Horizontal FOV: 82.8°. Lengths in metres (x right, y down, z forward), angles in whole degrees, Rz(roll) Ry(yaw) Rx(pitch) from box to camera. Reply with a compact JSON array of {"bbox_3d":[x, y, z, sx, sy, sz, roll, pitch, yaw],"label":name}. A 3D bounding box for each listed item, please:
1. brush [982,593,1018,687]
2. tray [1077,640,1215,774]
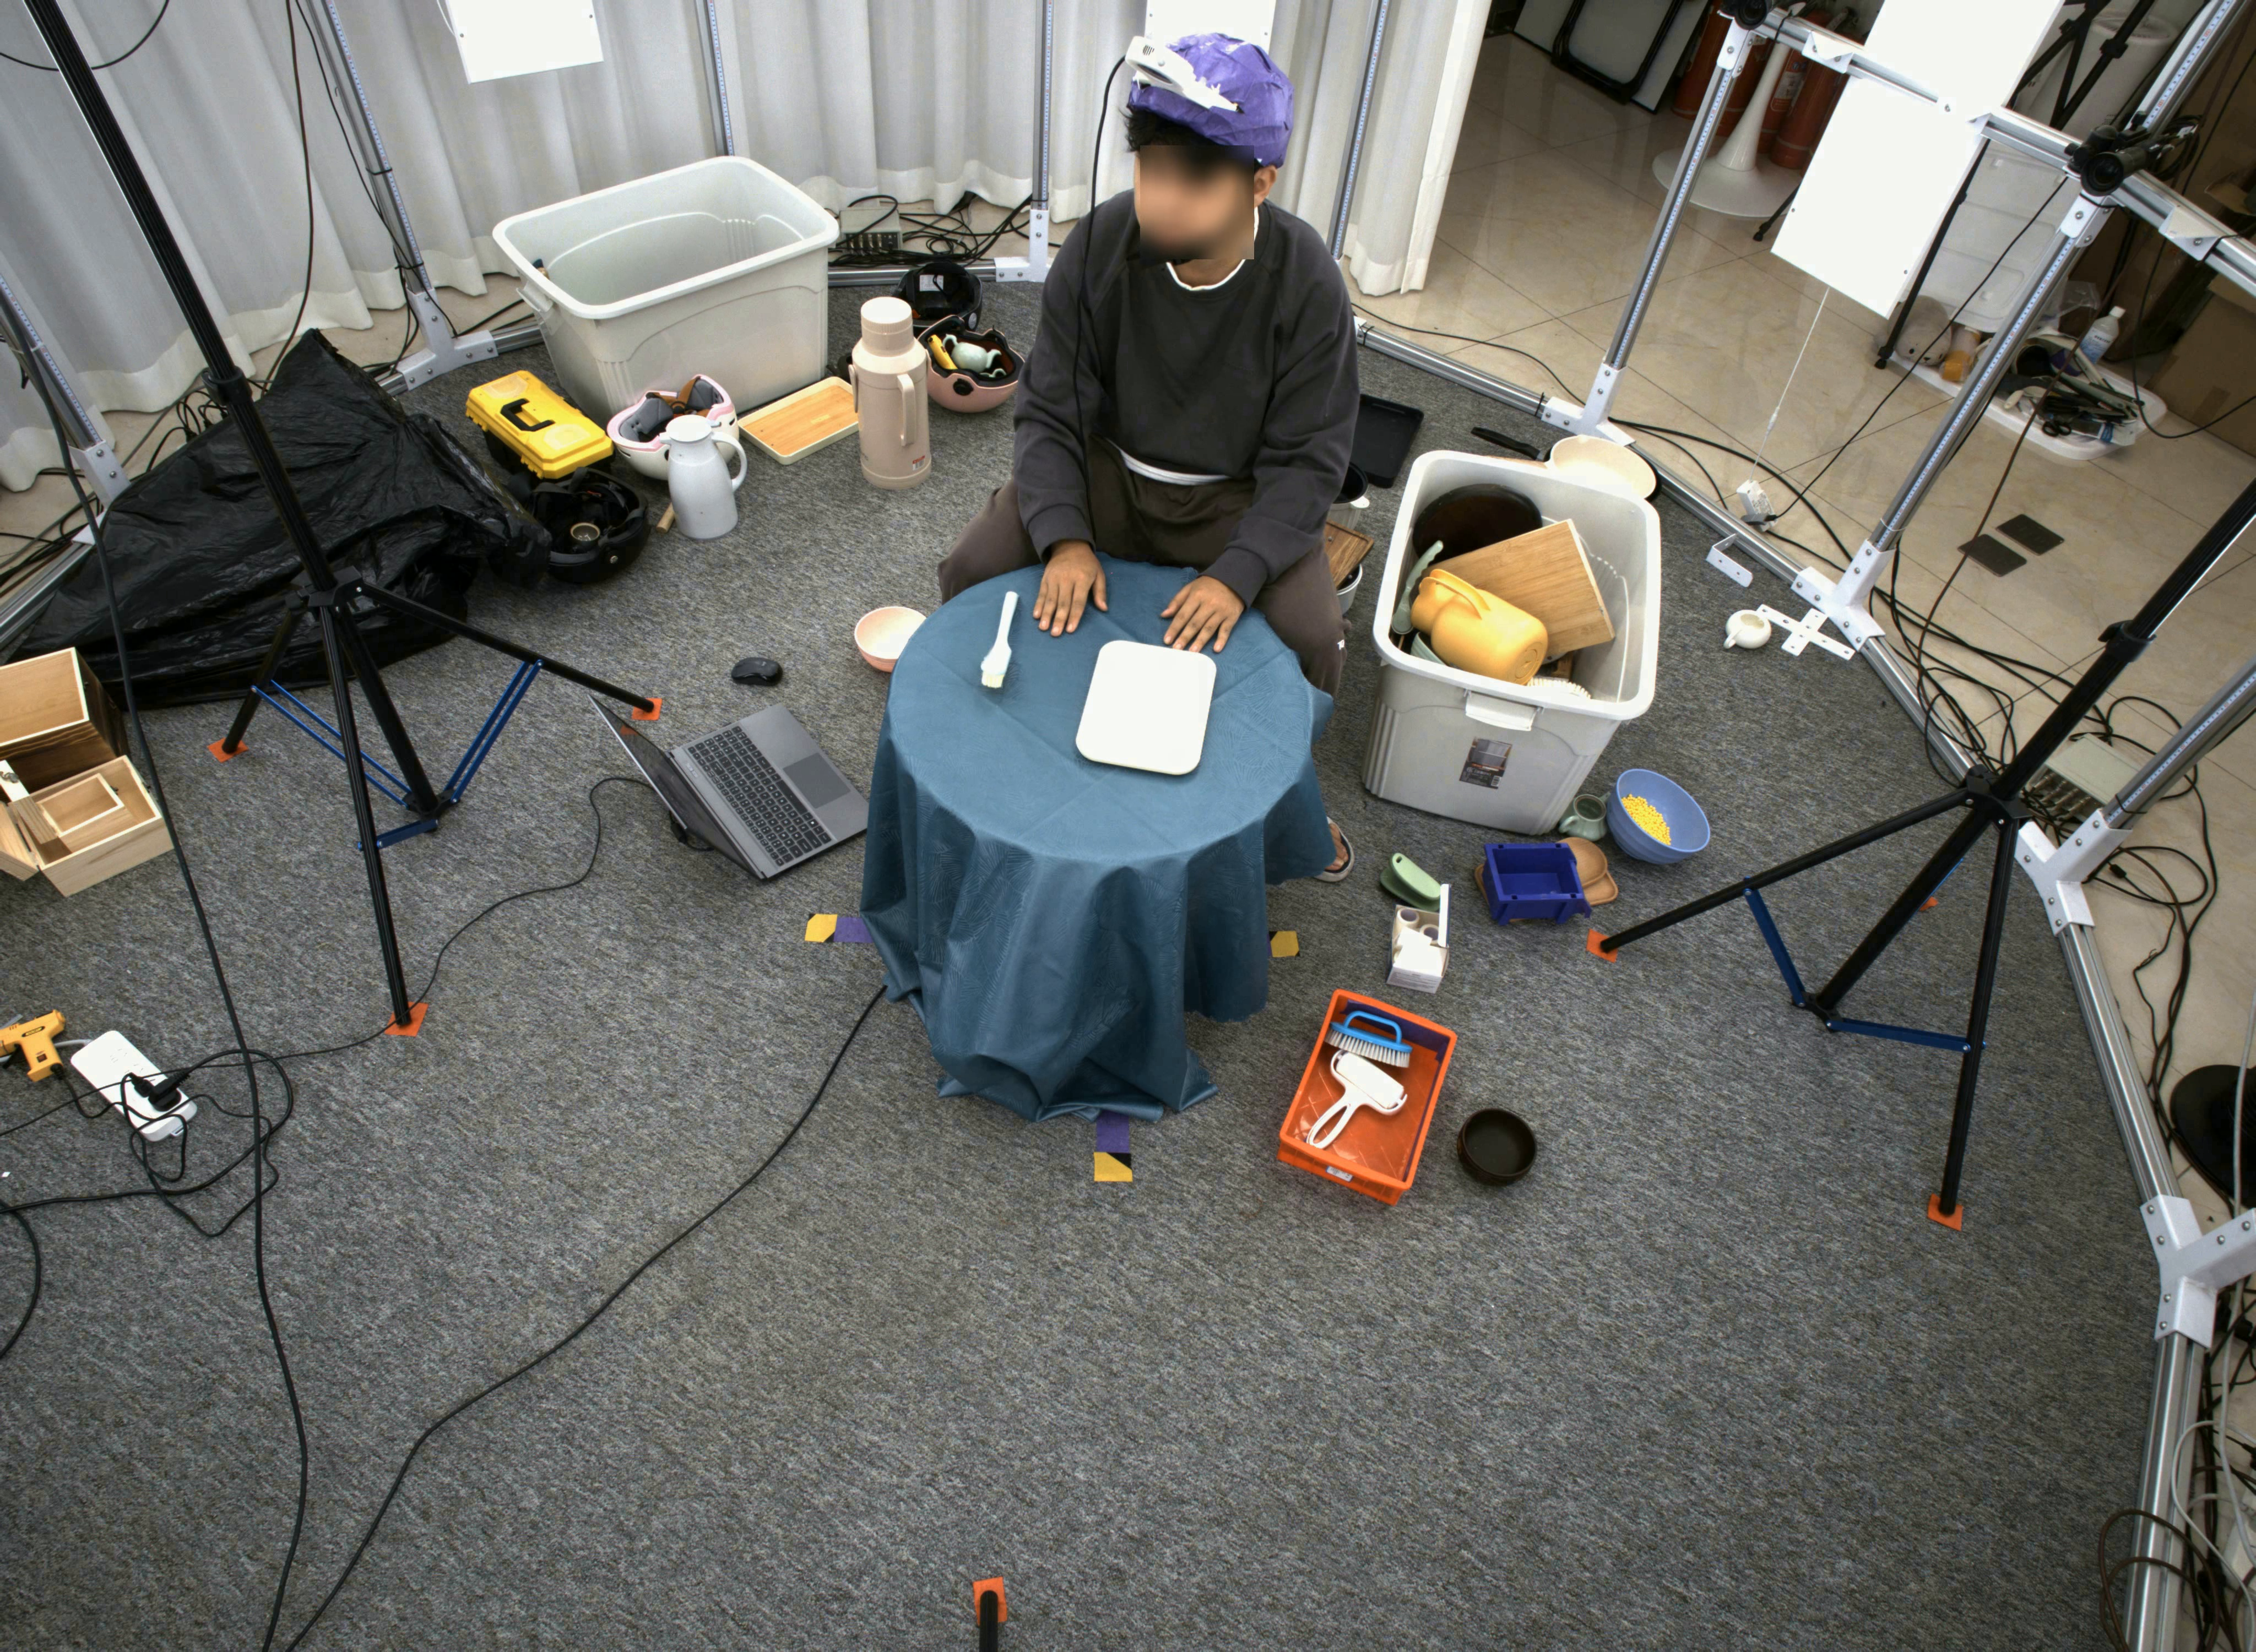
[{"bbox_3d":[-0.182,-0.274,1.869,0.038,0.048,0.234,9,40,-5],"label":"brush"},{"bbox_3d":[0.028,-0.168,1.801,0.171,0.017,0.245,10,49,3],"label":"tray"}]
